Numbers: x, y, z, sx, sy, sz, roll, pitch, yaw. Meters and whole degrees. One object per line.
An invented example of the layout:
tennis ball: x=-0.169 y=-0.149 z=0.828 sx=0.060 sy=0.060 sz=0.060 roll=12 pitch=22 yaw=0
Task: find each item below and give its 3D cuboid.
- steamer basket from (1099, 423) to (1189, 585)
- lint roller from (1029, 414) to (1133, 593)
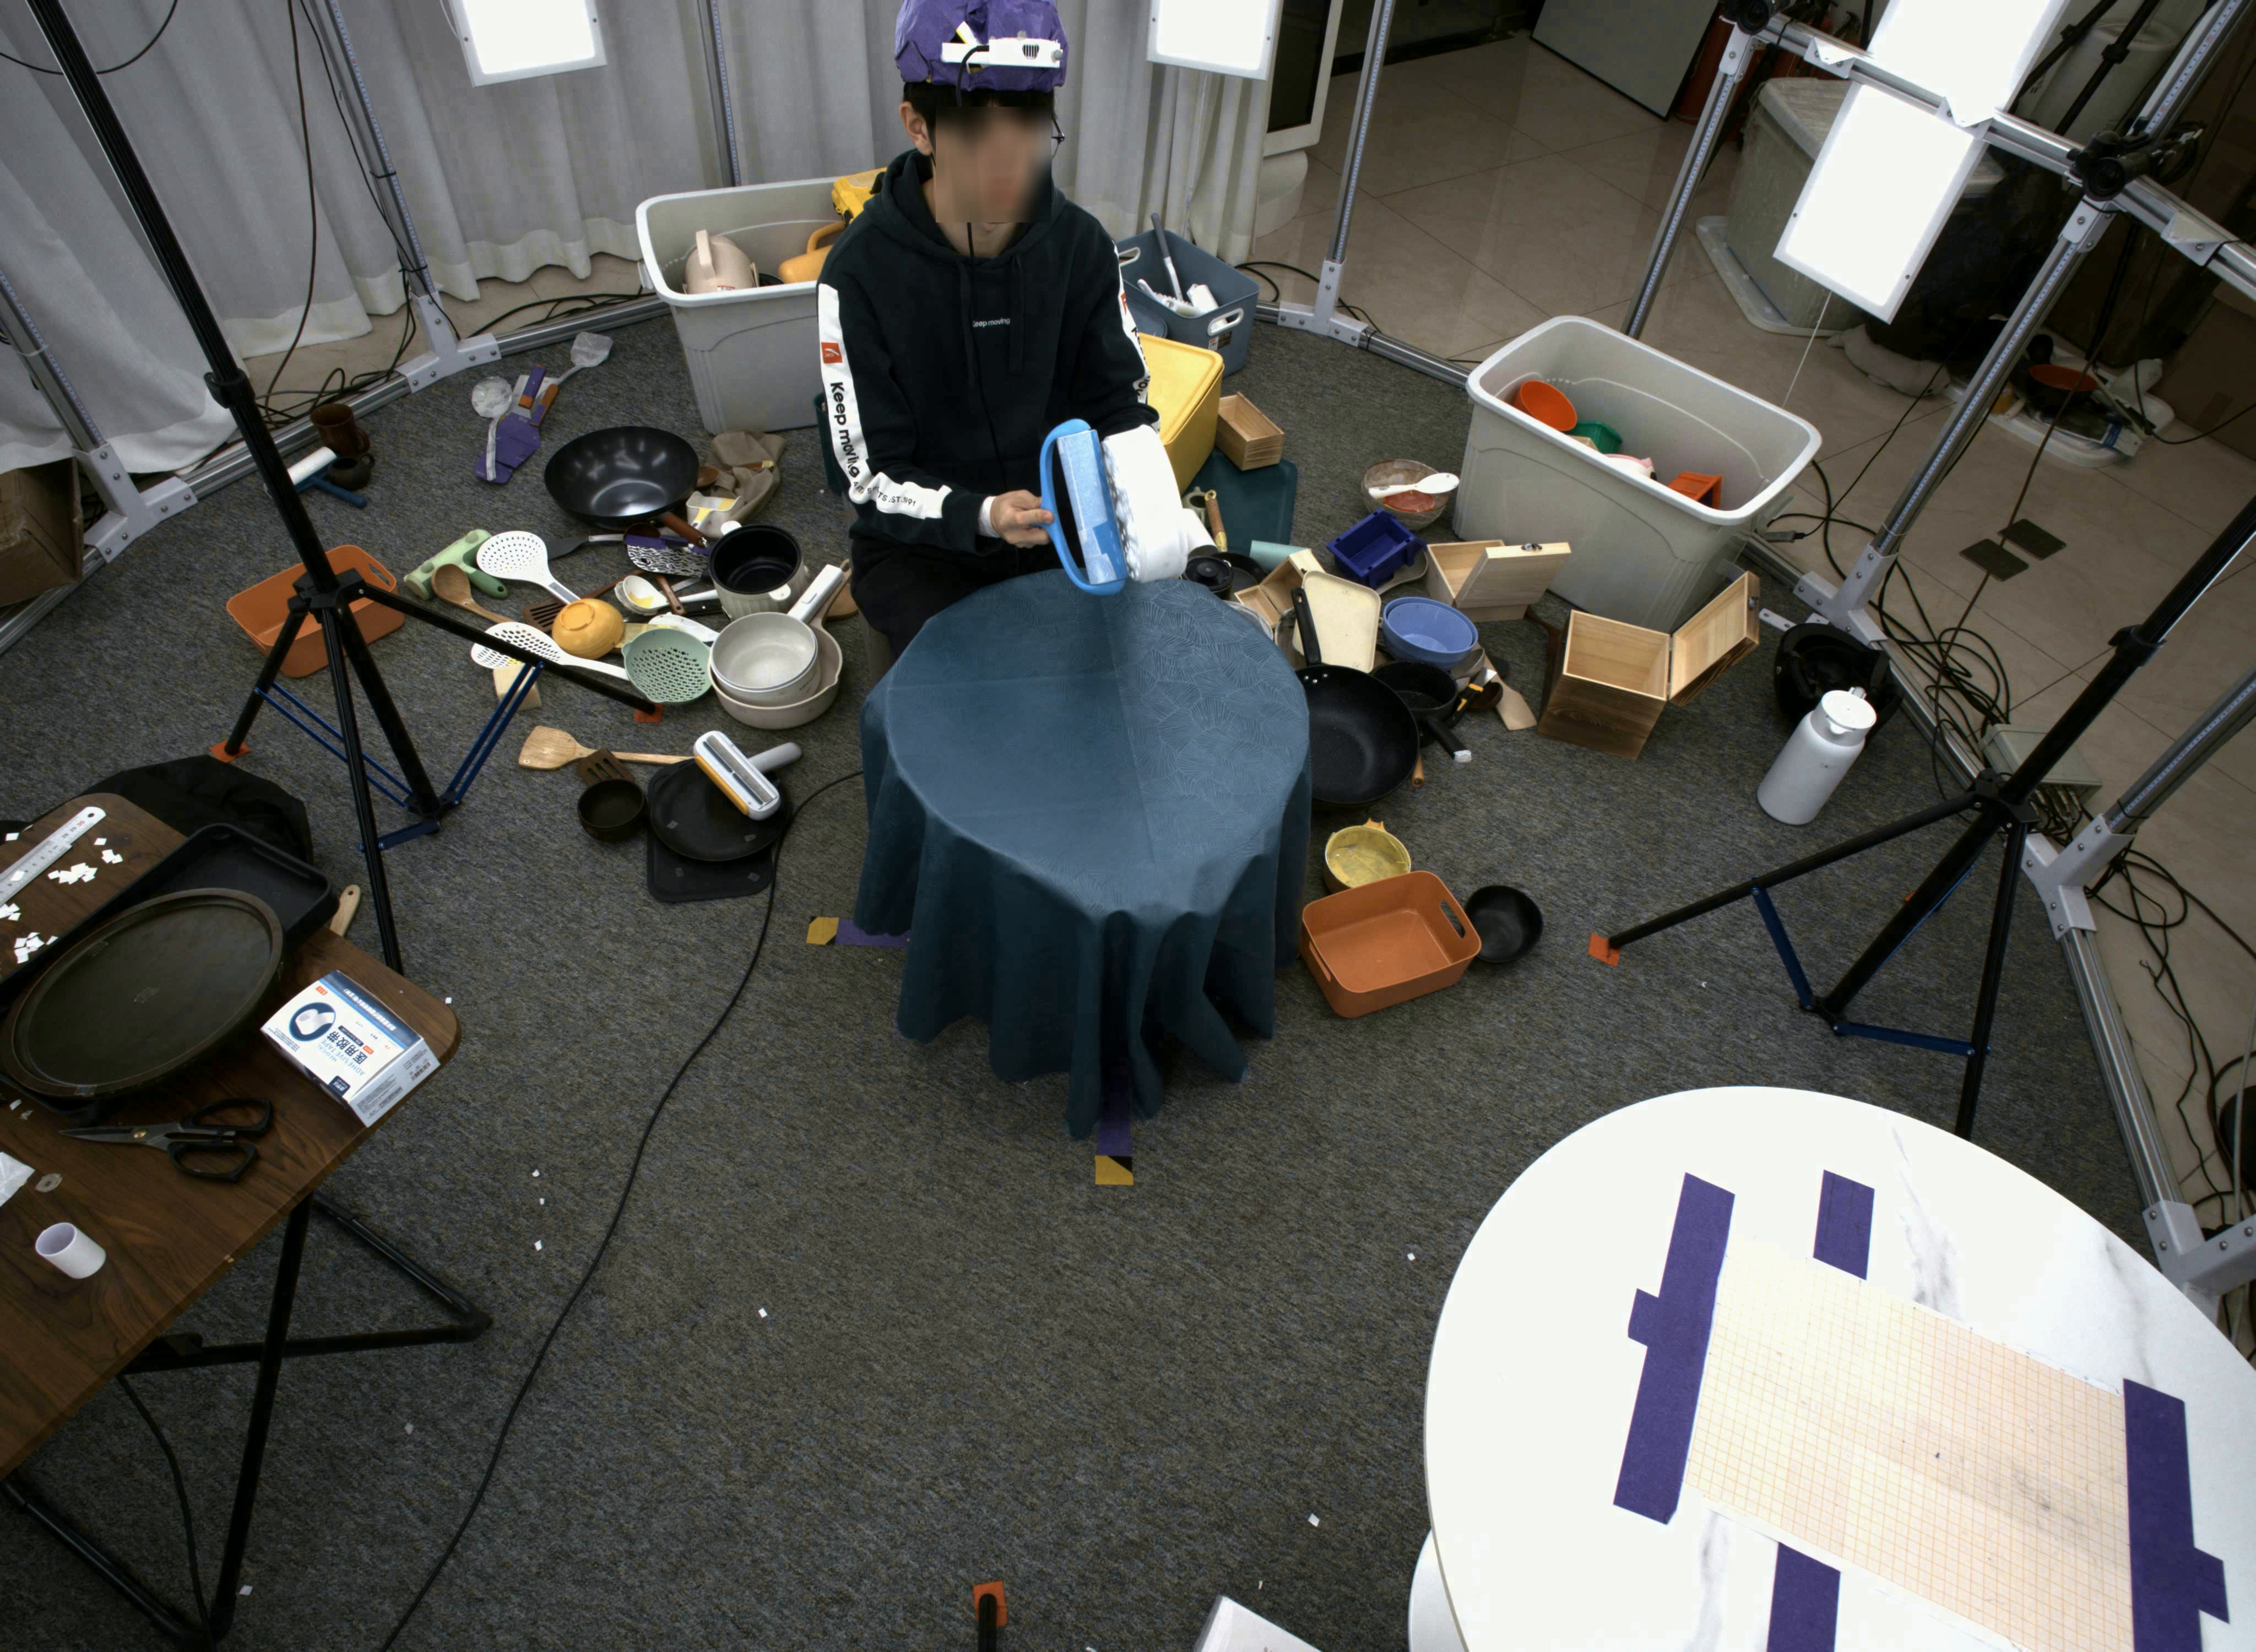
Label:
steamer basket: x=0.015 y=-0.414 z=1.677 sx=0.069 sy=0.197 sz=0.236 roll=-16 pitch=37 yaw=-9
lint roller: x=-0.085 y=-0.412 z=1.709 sx=0.180 sy=0.227 sz=0.068 roll=-6 pitch=17 yaw=46
